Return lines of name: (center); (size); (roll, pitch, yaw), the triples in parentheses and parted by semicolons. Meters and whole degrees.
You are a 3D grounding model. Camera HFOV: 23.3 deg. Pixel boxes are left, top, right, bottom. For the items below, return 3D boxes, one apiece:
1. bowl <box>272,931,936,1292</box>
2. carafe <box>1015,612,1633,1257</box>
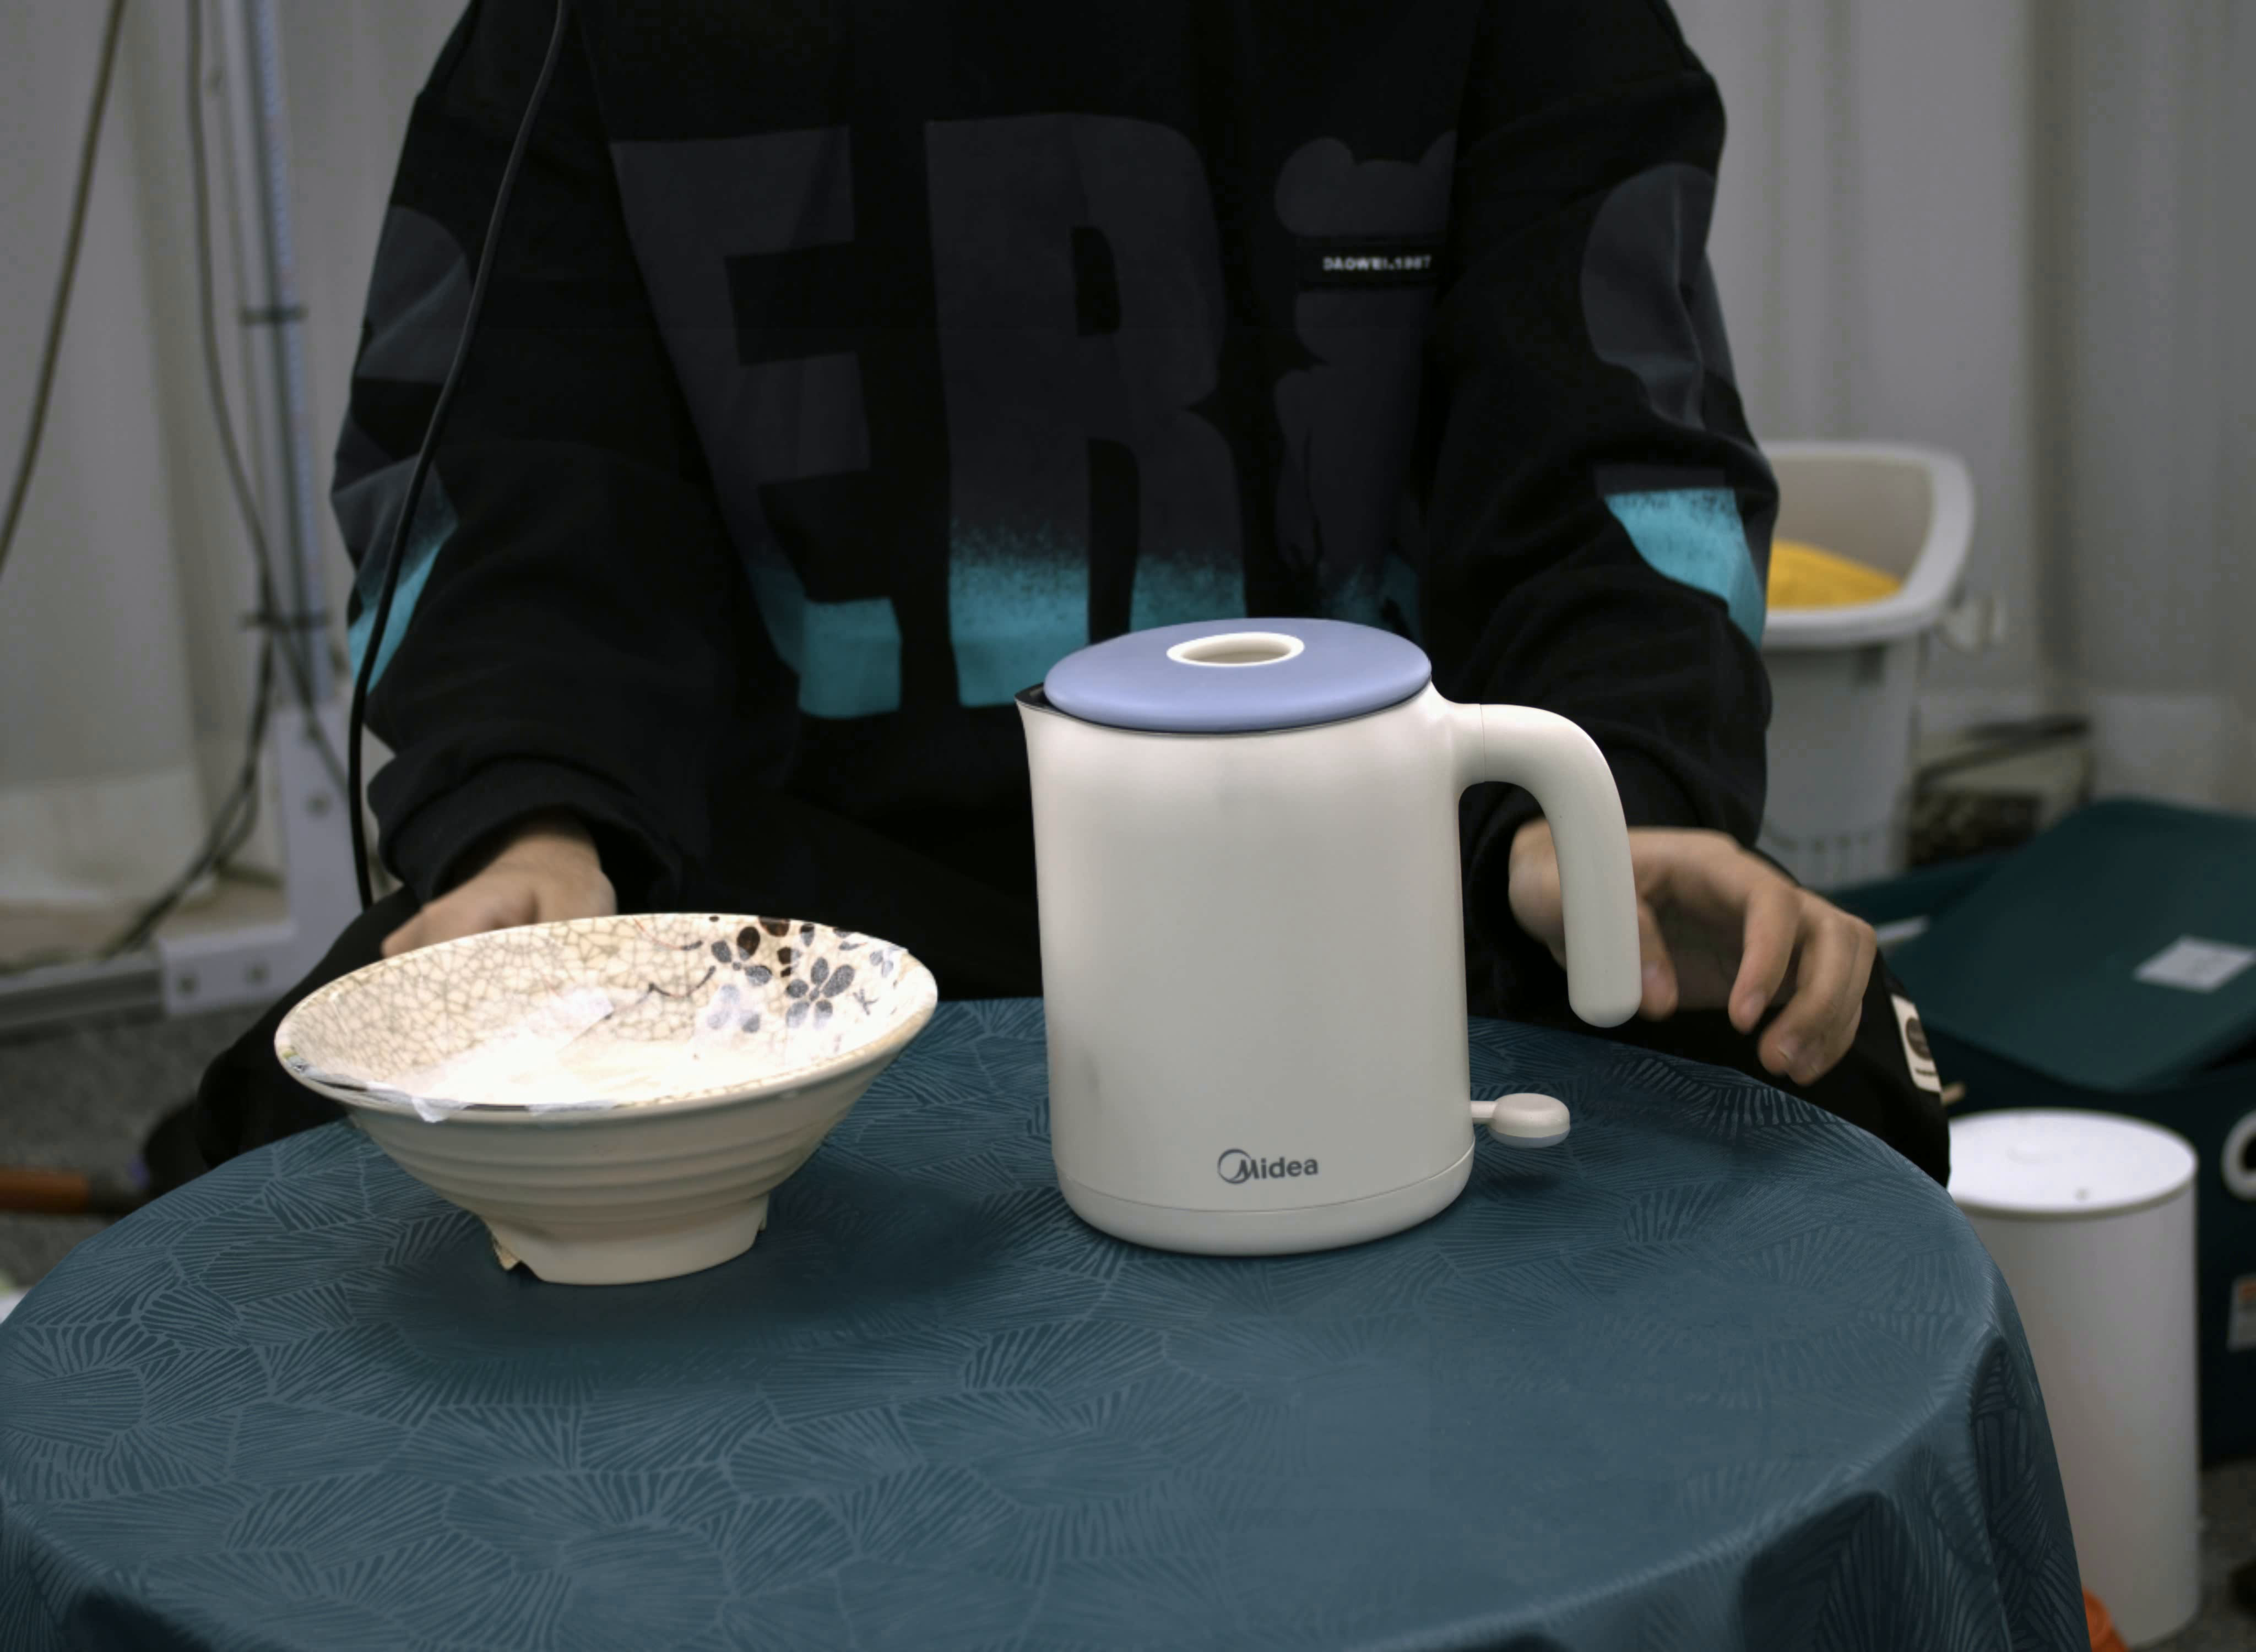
bowl: (-0.158, 0.093, 1.683); (0.203, 0.078, 0.205); (-3, 12, 0)
carafe: (0.061, 0.032, 1.685); (0.190, 0.182, 0.133); (-1, 15, -2)
